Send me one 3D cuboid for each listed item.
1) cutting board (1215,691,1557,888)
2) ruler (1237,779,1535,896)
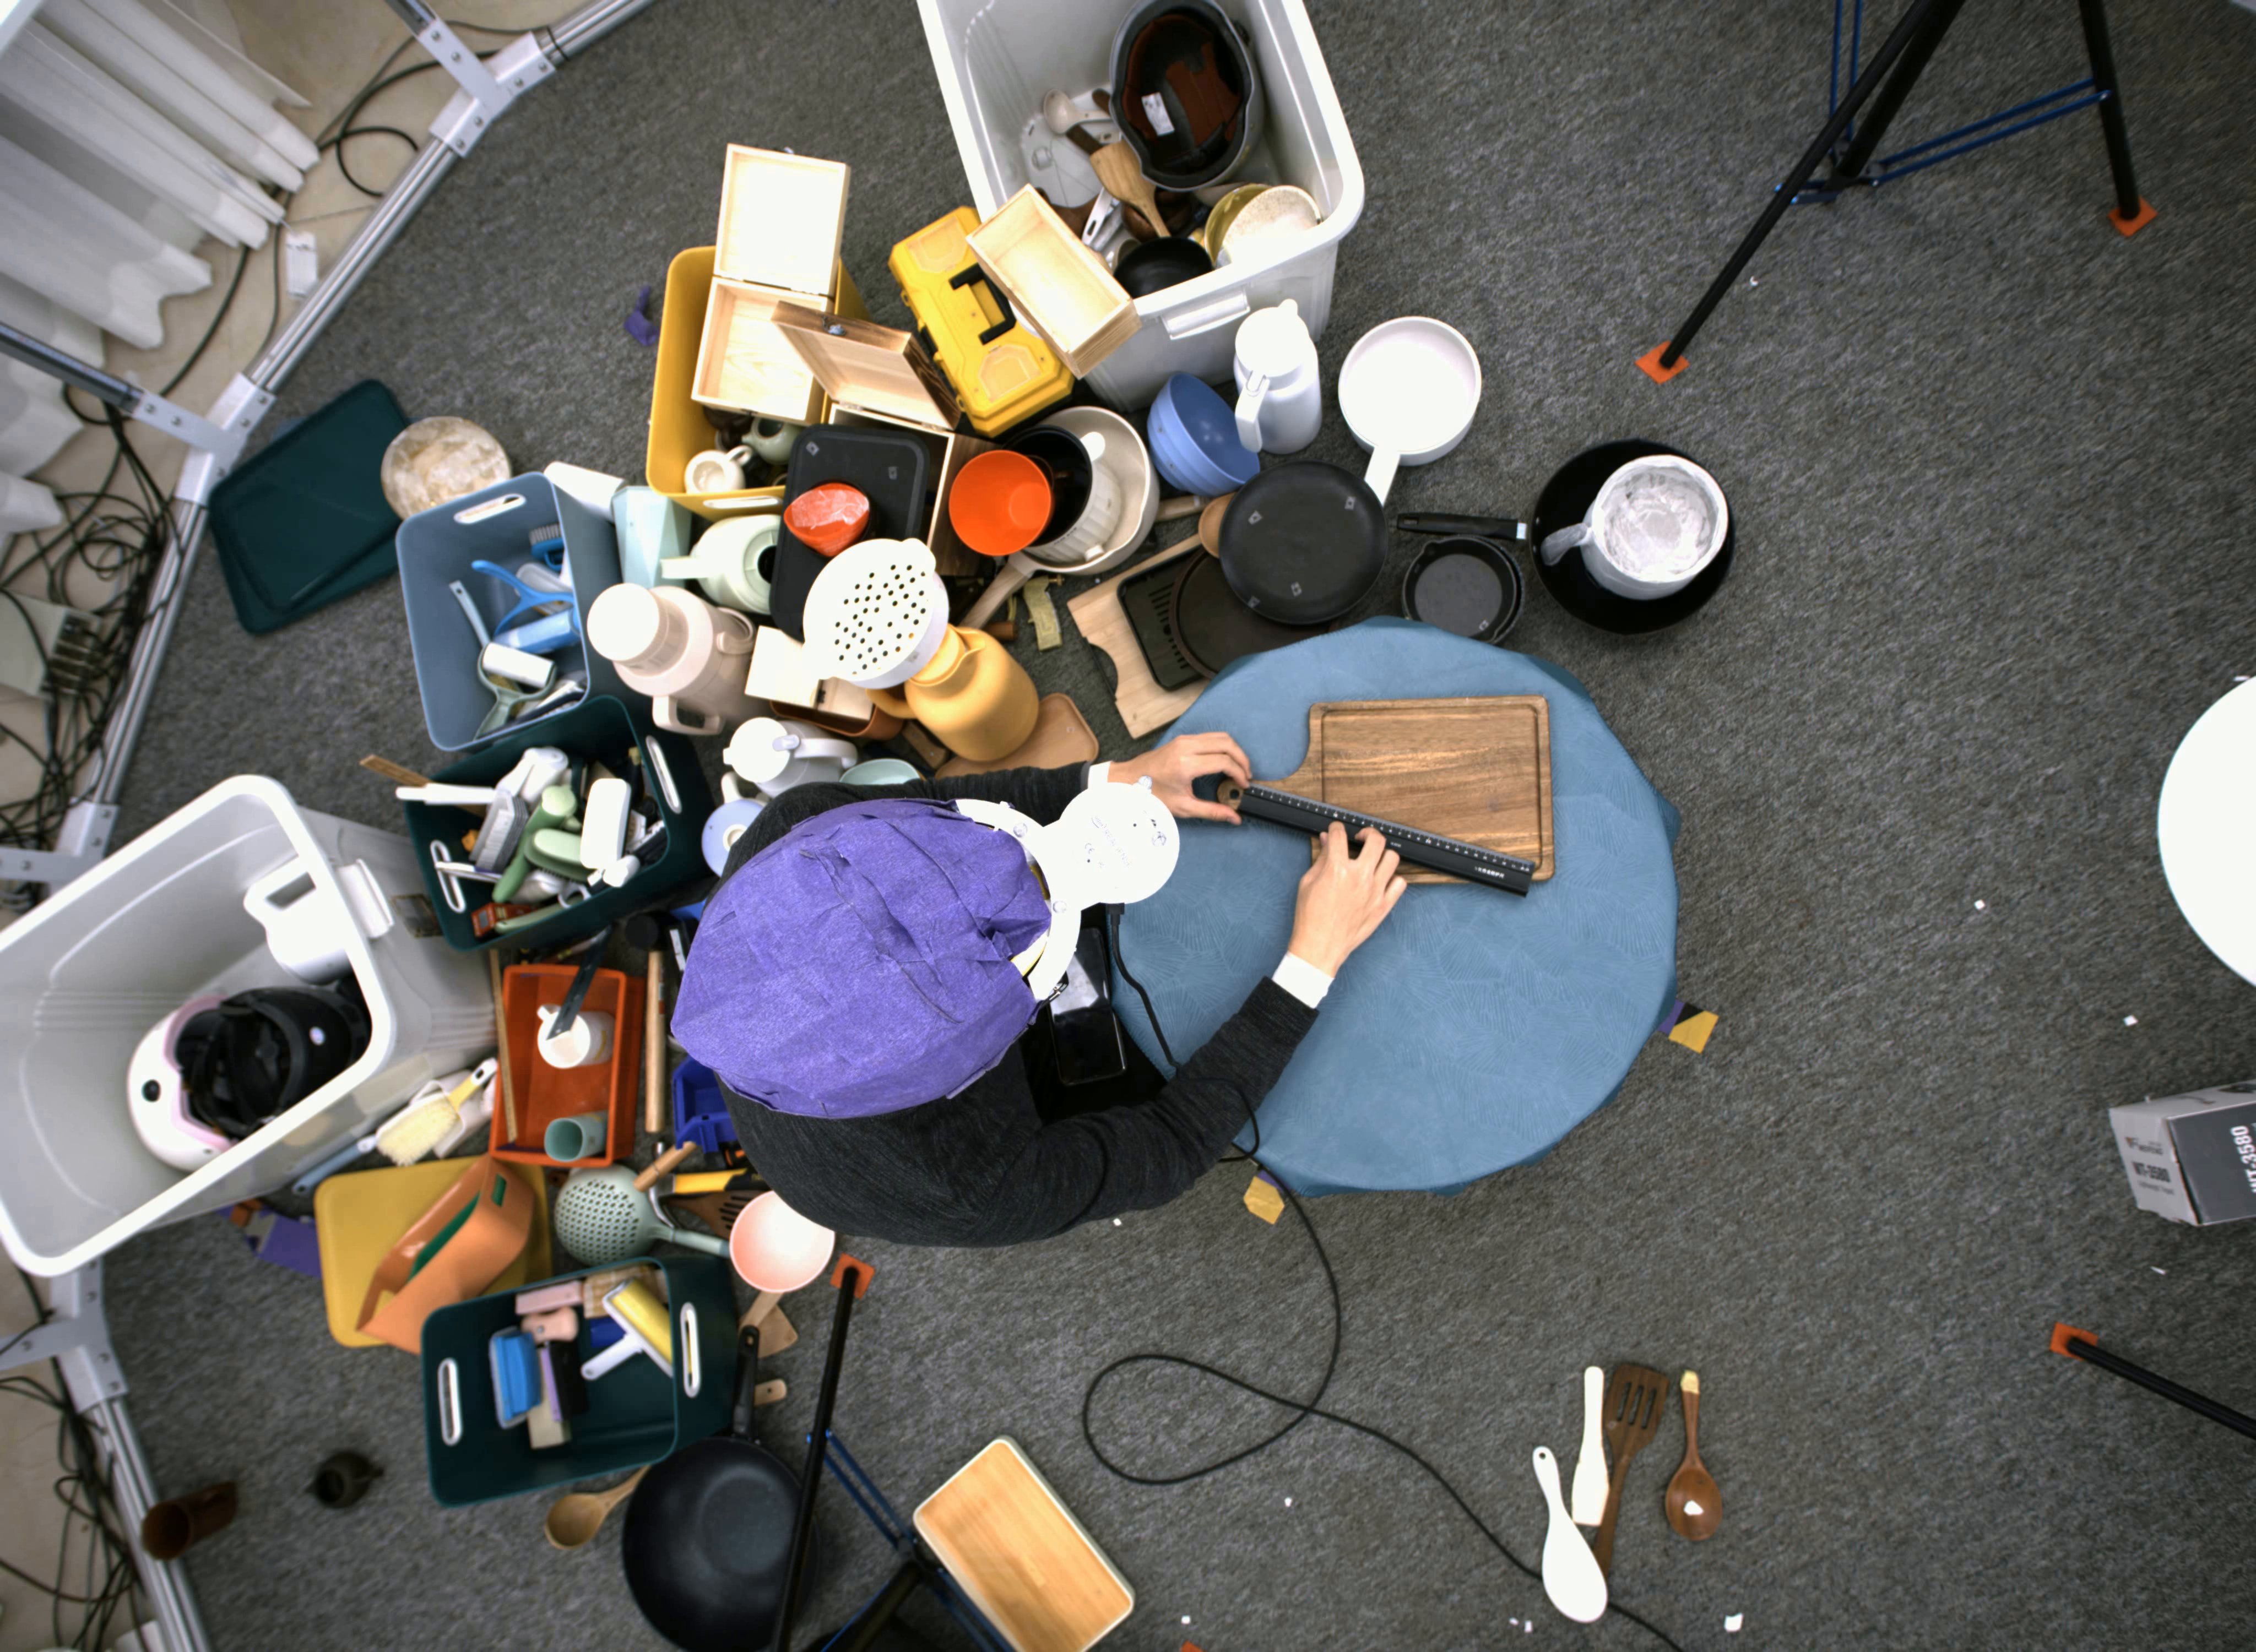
[{"bbox_3d":[0.268,-0.038,1.456,0.353,0.023,0.200,-2,87,11],"label":"cutting board"},{"bbox_3d":[0.267,0.009,1.436,0.313,0.017,0.039,17,87,11],"label":"ruler"}]
